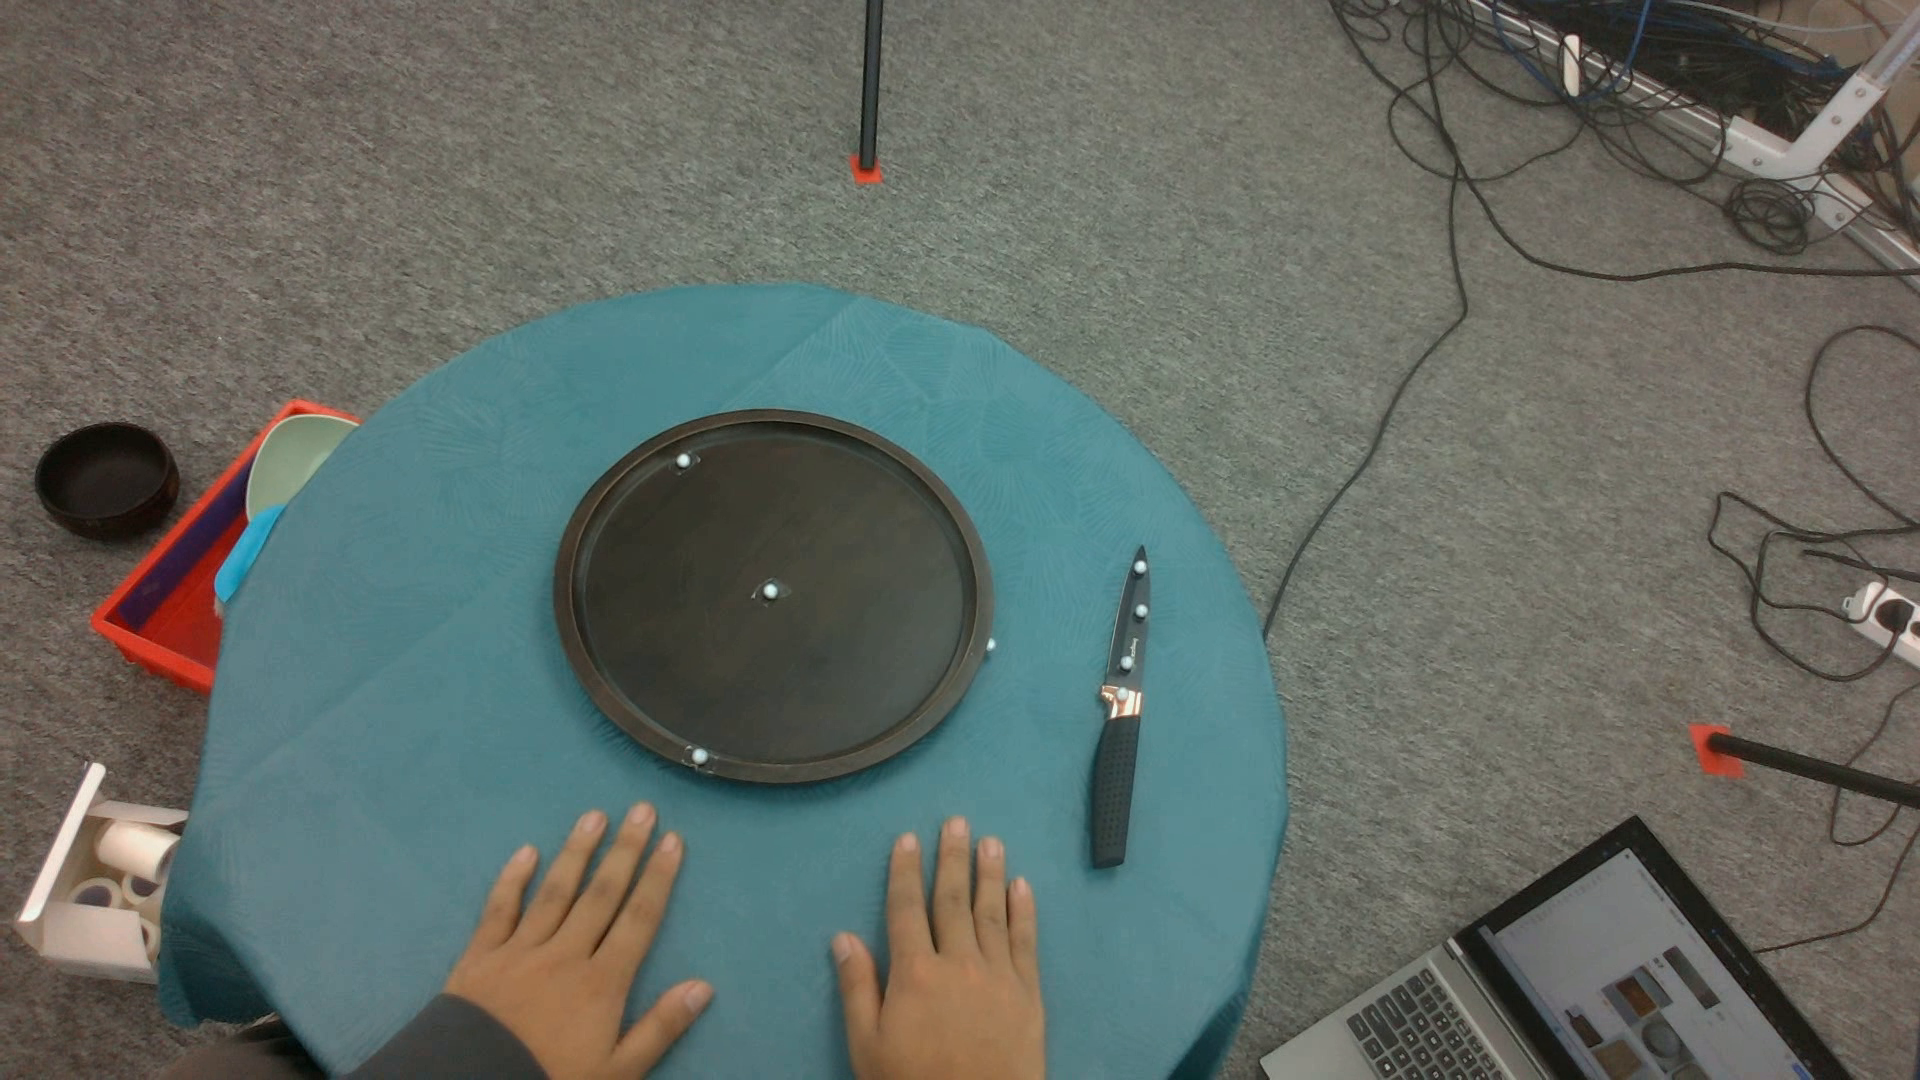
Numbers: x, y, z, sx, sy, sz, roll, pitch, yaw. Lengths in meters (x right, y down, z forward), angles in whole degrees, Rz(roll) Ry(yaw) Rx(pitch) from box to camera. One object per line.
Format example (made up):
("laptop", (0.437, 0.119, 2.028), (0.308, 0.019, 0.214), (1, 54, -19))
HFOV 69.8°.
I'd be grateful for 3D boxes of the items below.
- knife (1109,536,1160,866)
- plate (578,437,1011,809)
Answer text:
("knife", (0.107, 0.089, 0.827), (0.026, 0.017, 0.226), (8, 54, 3))
("plate", (-0.096, 0.043, 0.819), (0.255, 0.029, 0.256), (5, 56, -7))
